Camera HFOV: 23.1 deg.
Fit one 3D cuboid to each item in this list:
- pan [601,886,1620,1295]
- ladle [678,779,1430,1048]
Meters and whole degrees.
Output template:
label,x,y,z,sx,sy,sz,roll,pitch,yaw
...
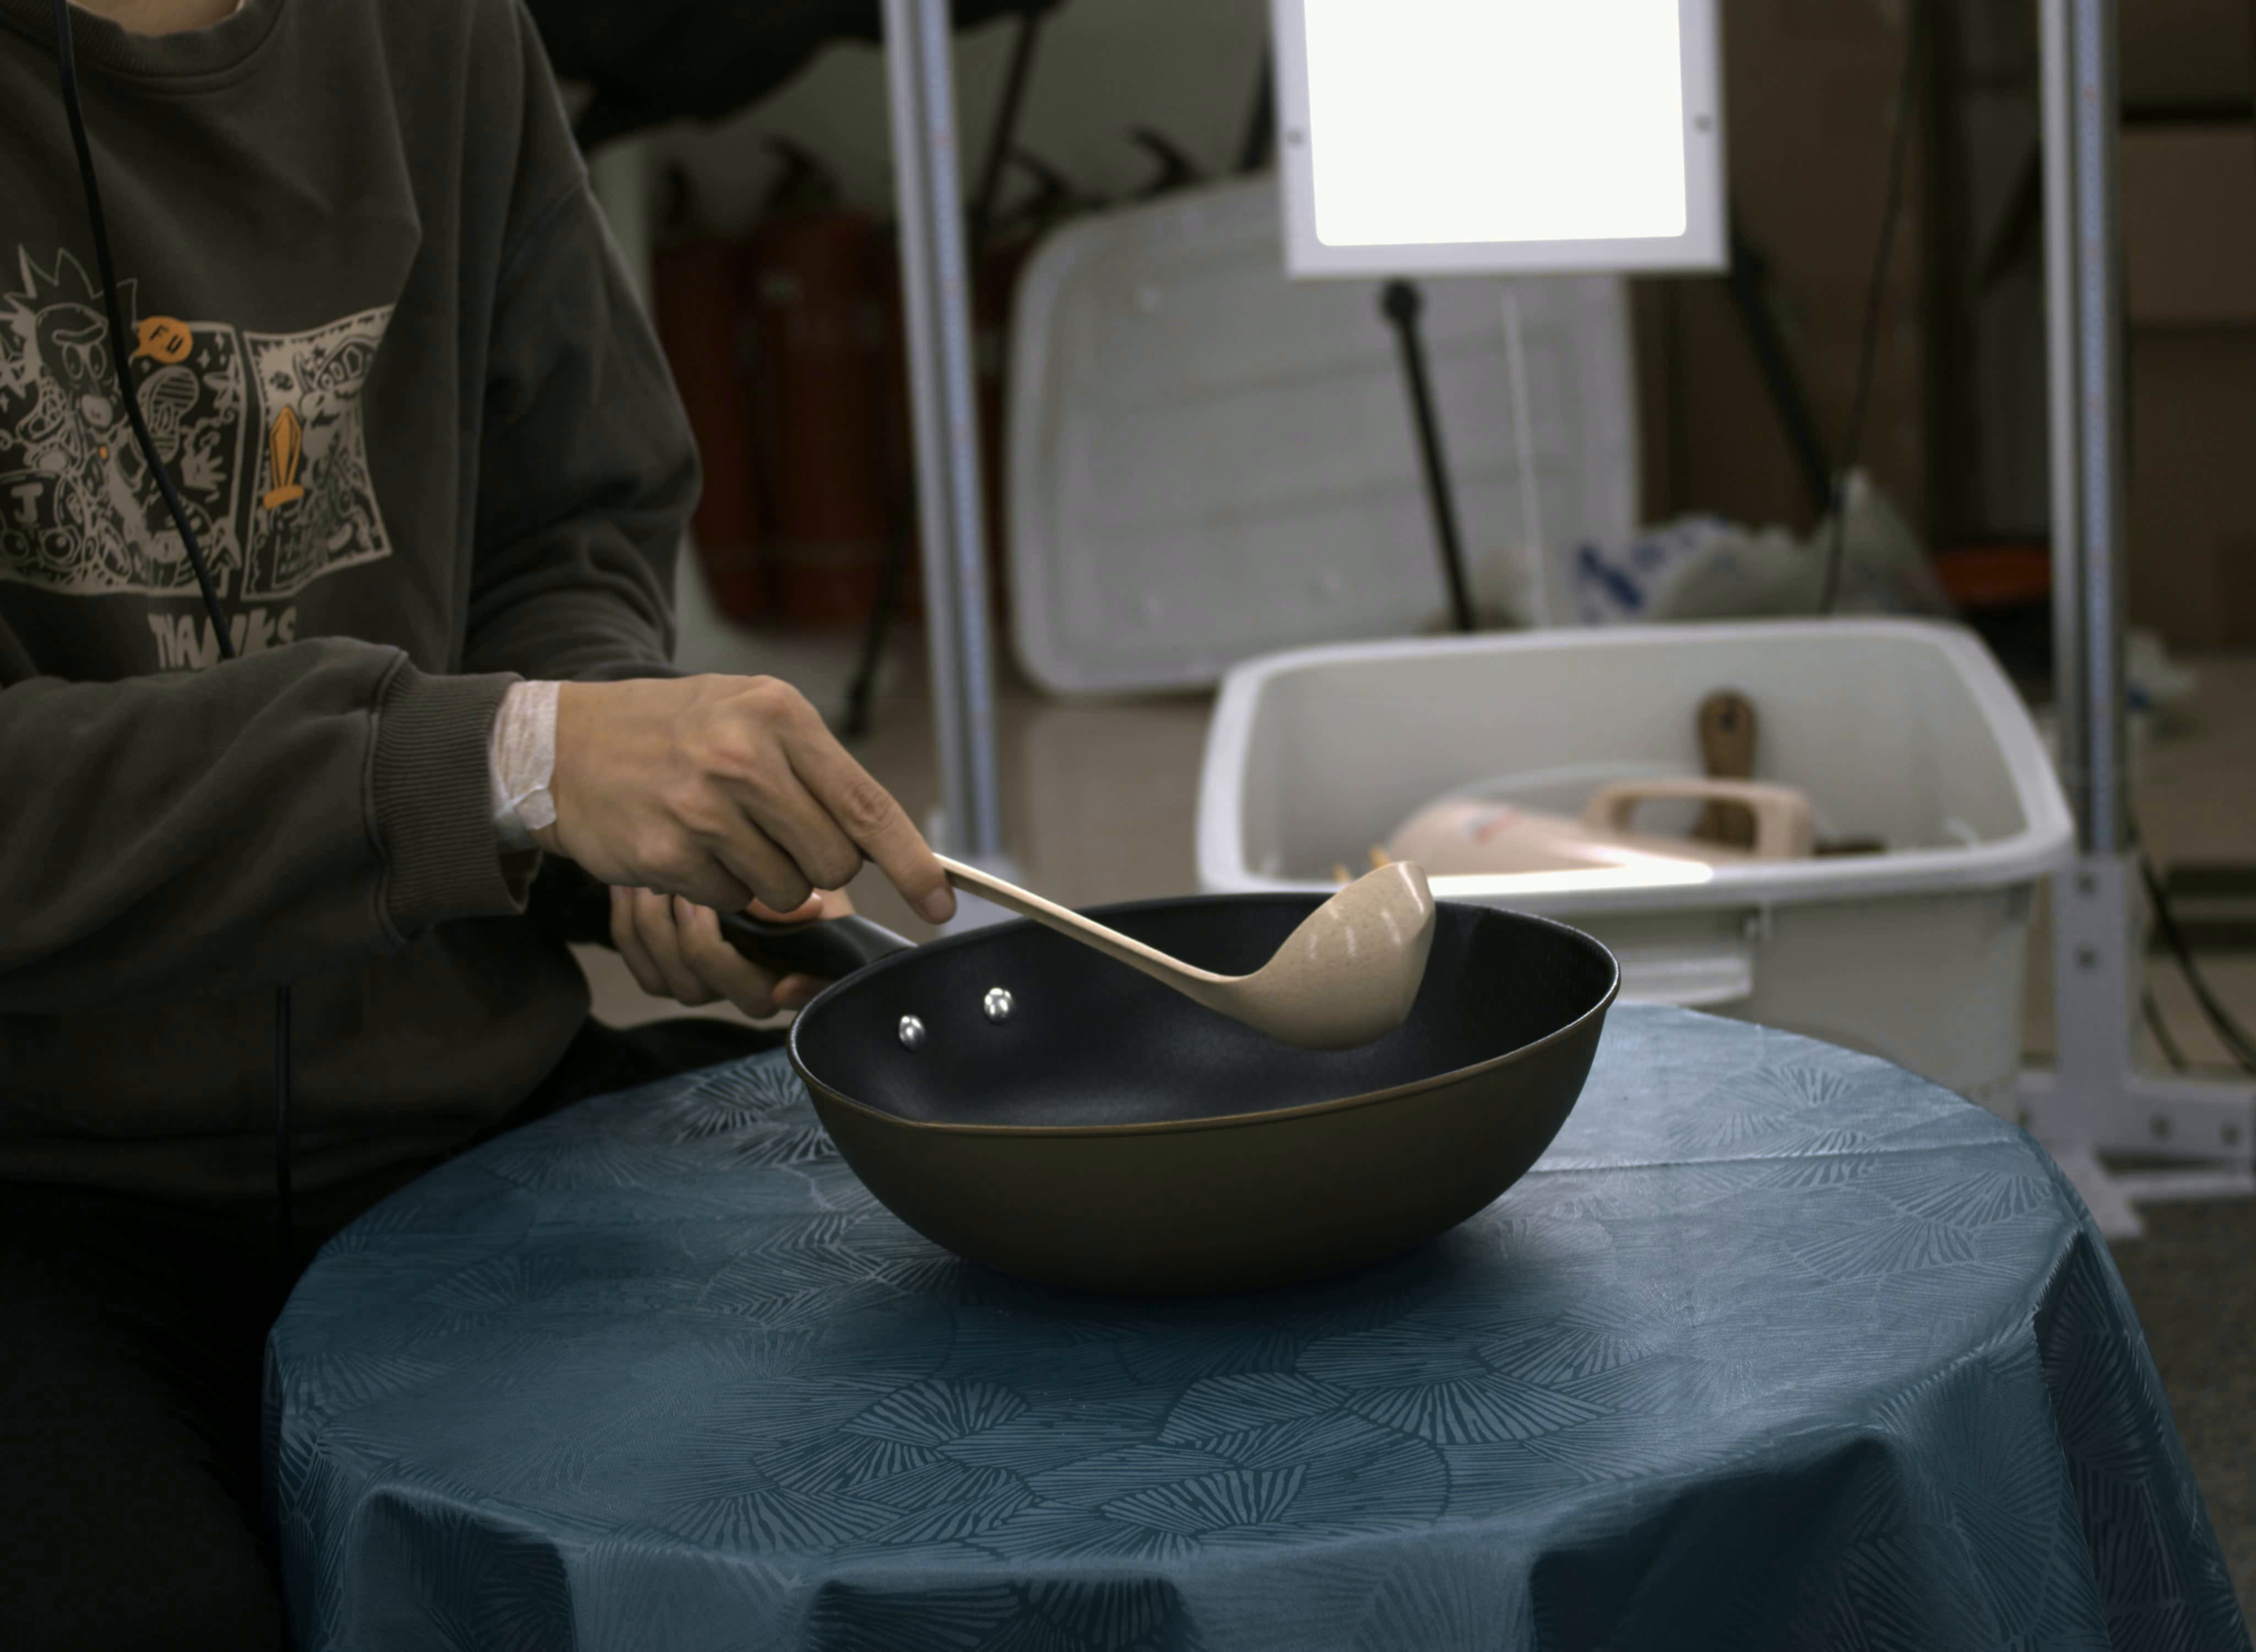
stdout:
label,x,y,z,sx,sy,sz,roll,pitch,yaw
pan,-0.036,0.085,1.907,0.281,0.087,0.473,-17,17,-40
ladle,-0.021,0.003,1.844,0.256,0.072,0.072,22,-19,12
